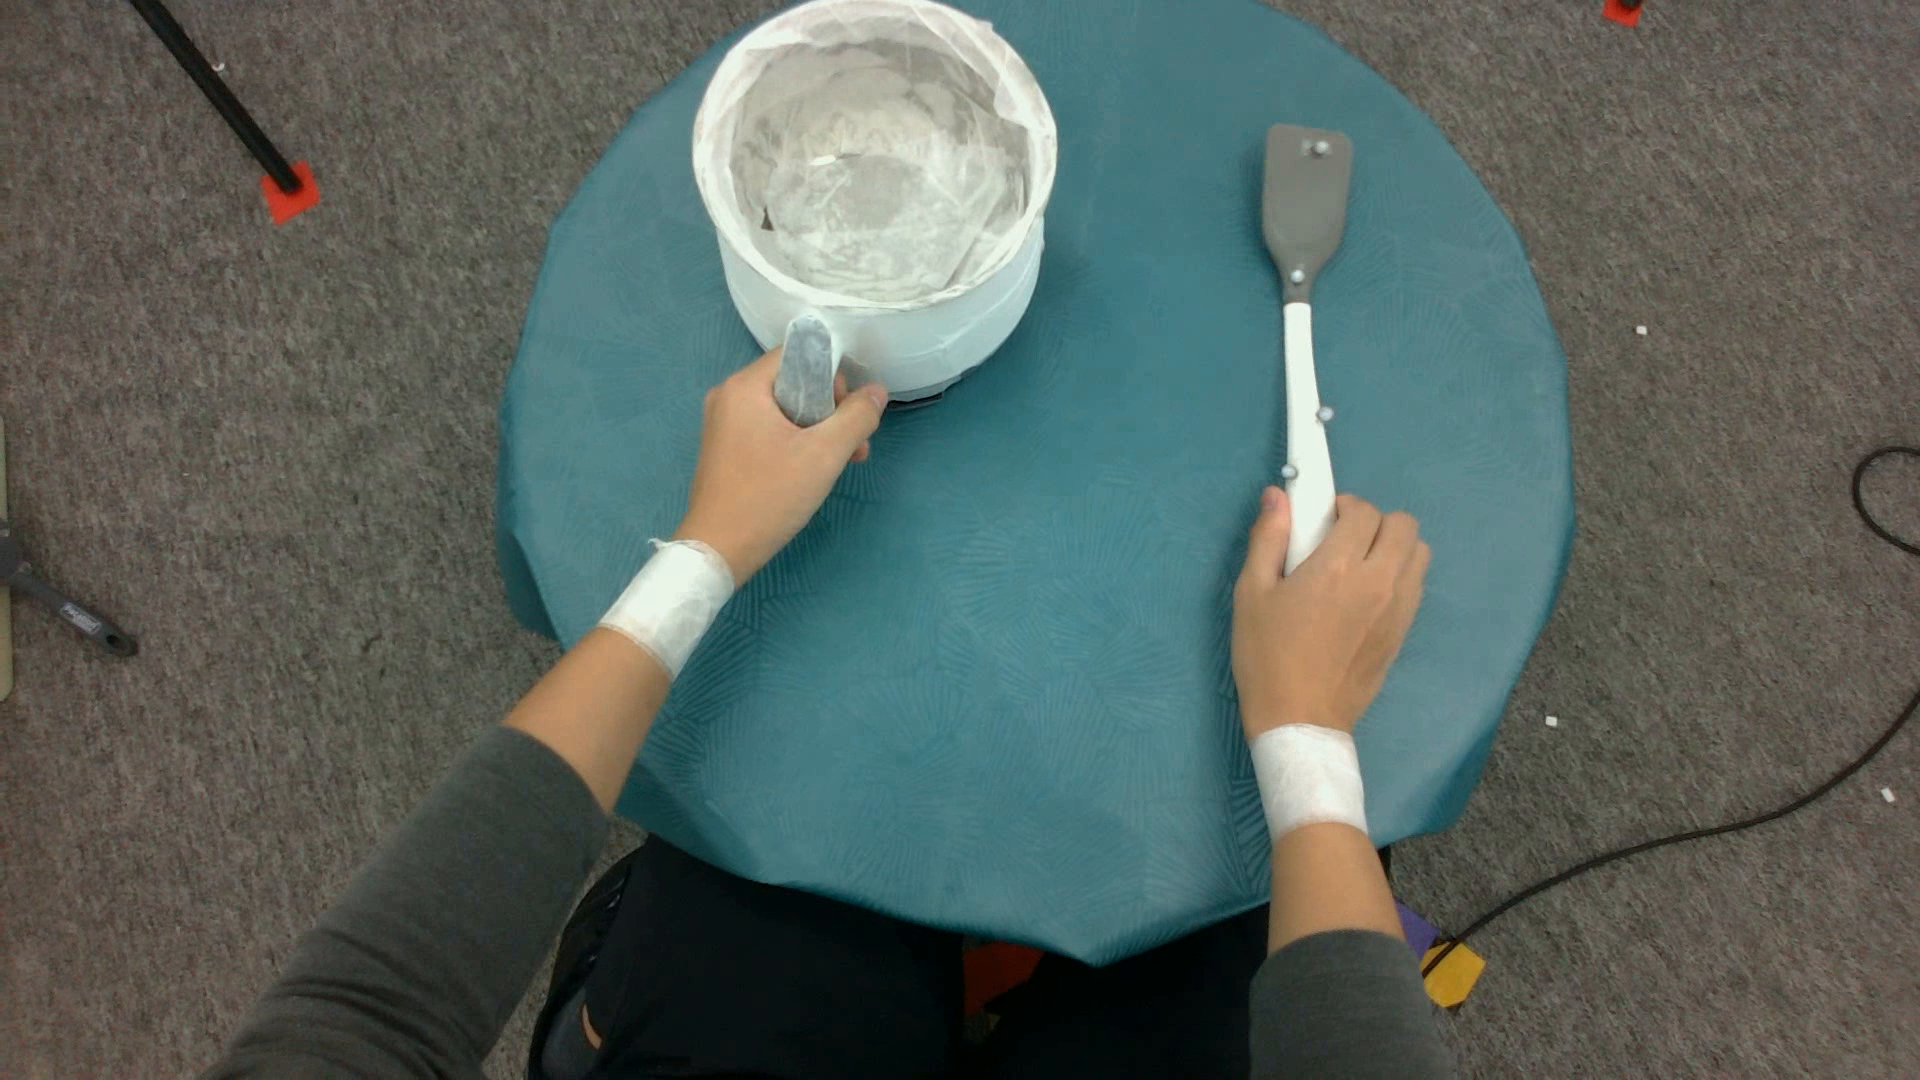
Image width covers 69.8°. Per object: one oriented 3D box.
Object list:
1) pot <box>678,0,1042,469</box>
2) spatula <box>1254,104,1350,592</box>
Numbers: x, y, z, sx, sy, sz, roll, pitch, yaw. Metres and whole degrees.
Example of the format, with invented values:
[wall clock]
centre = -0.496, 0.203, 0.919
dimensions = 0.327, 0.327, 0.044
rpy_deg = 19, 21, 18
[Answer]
[pot]
centre = -0.058, -0.156, 0.724
dimensions = 0.179, 0.136, 0.234
rpy_deg = 16, 73, 3
[spatula]
centre = 0.189, -0.113, 0.777
dimensions = 0.059, 0.032, 0.288
rpy_deg = 8, 74, -11
